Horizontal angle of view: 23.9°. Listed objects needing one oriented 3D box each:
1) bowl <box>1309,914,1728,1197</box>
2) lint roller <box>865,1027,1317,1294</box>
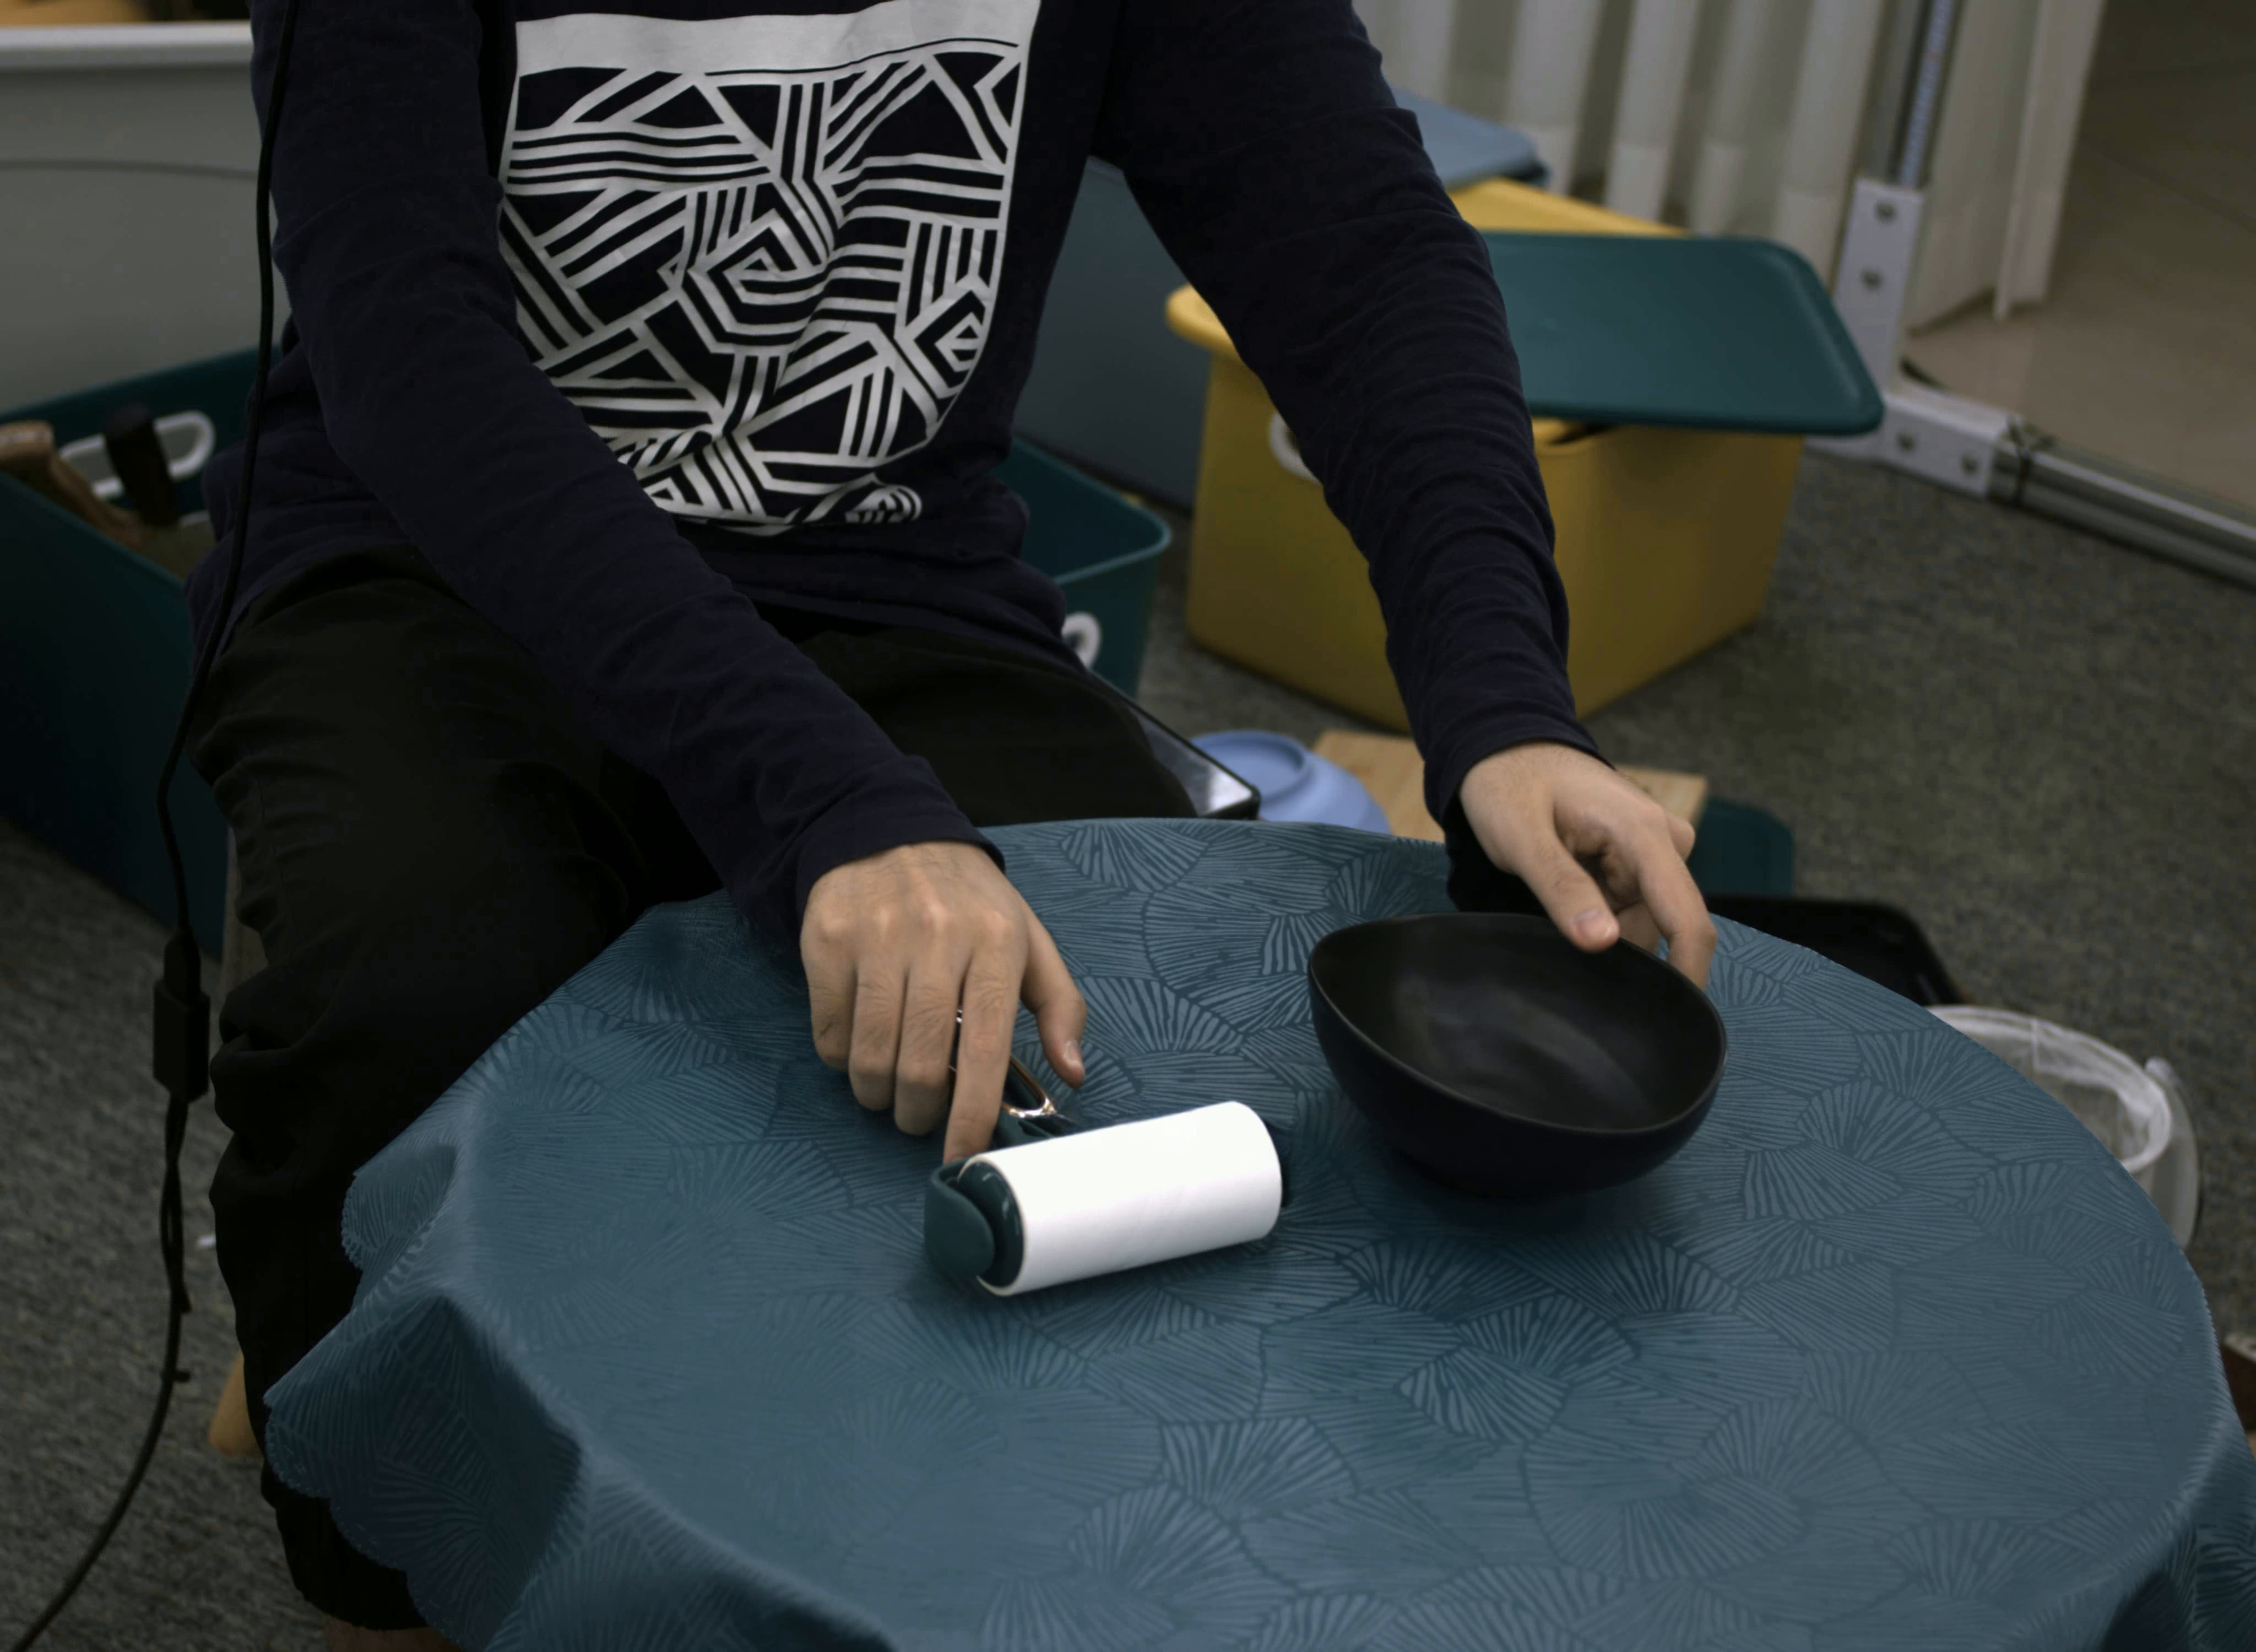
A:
[{"bbox_3d":[0.129,0.085,1.839,0.136,0.066,0.172,-7,28,-26],"label":"bowl"},{"bbox_3d":[-0.038,0.093,1.805,0.133,0.048,0.182,-10,31,-29],"label":"lint roller"}]
